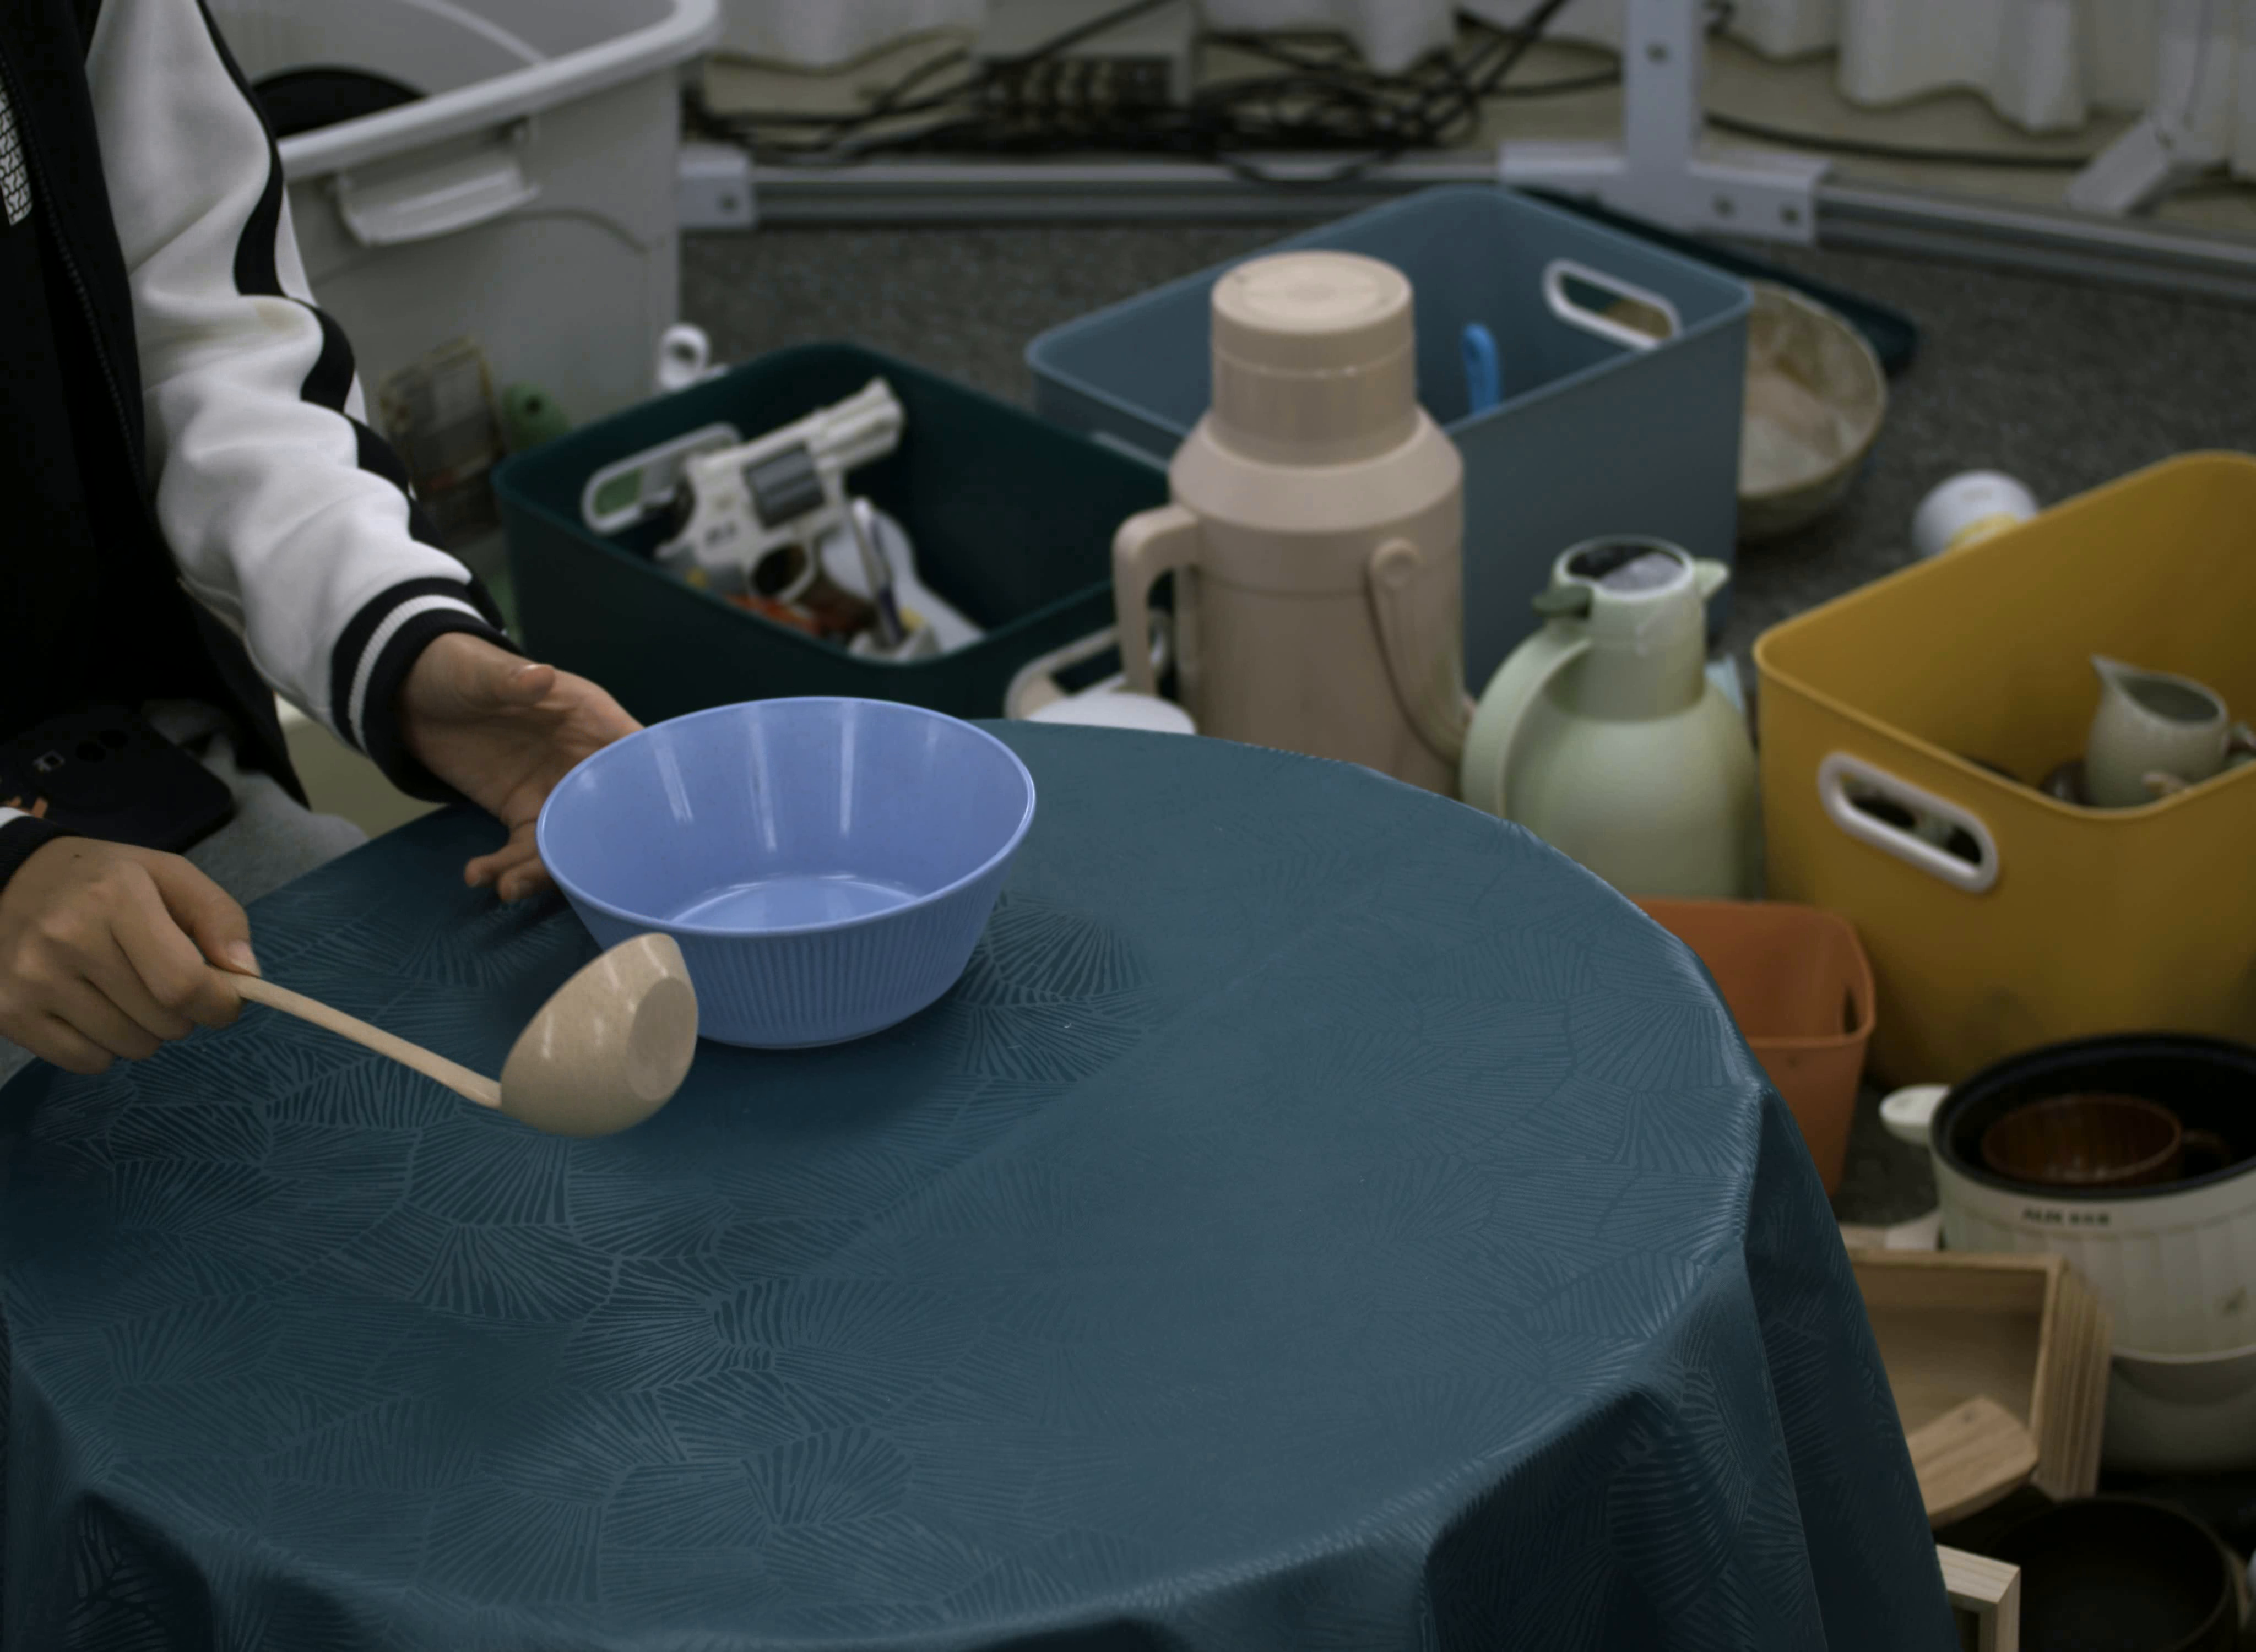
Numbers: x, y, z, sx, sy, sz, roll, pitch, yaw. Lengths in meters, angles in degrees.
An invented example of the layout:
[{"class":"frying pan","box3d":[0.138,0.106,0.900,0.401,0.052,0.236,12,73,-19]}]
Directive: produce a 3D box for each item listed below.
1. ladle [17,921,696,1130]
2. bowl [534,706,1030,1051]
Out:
[{"class":"ladle","box3d":[-0.255,0.038,1.829,0.253,0.073,0.072,16,7,26]},{"class":"bowl","box3d":[-0.120,0.024,1.987,0.175,0.069,0.179,-1,27,1]}]
